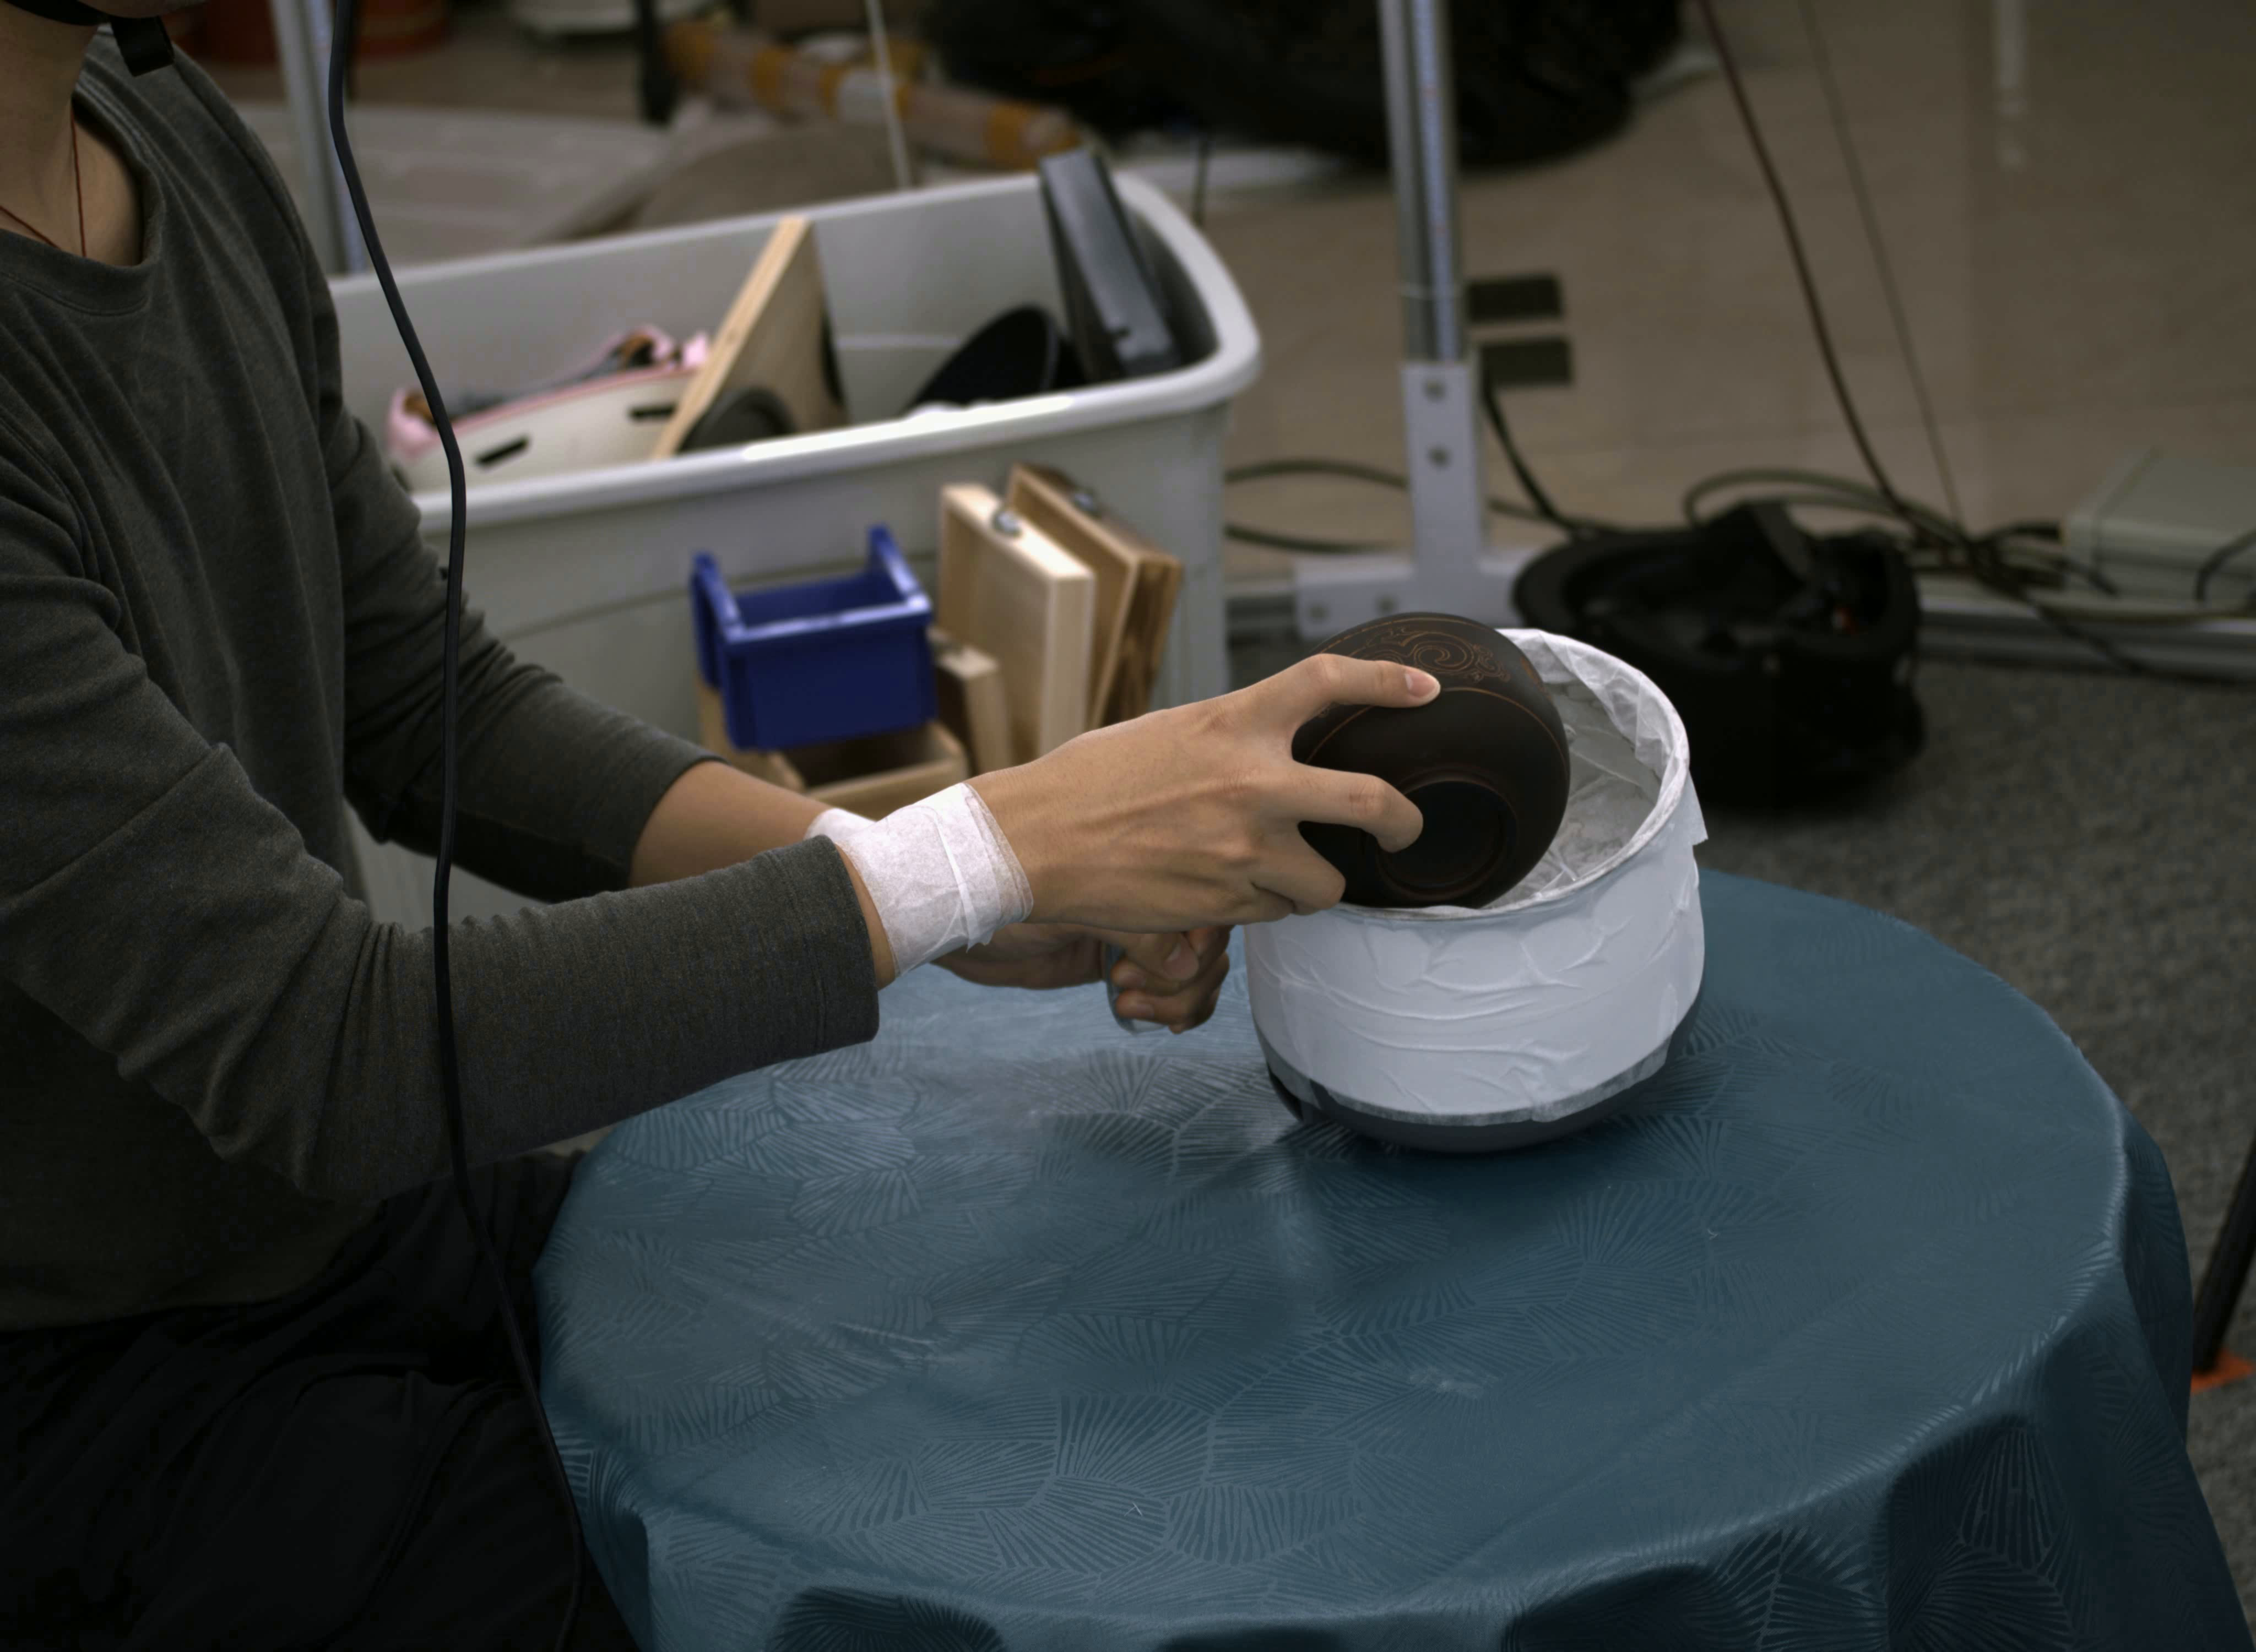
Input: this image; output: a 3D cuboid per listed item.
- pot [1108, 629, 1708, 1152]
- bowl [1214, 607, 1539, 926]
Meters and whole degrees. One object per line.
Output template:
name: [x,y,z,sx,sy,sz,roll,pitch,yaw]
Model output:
pot: [0.104,0.029,2.171,0.233,0.139,0.175,-3,38,8]
bowl: [0.096,-0.014,2.072,0.117,0.120,0.069,-12,37,-12]
